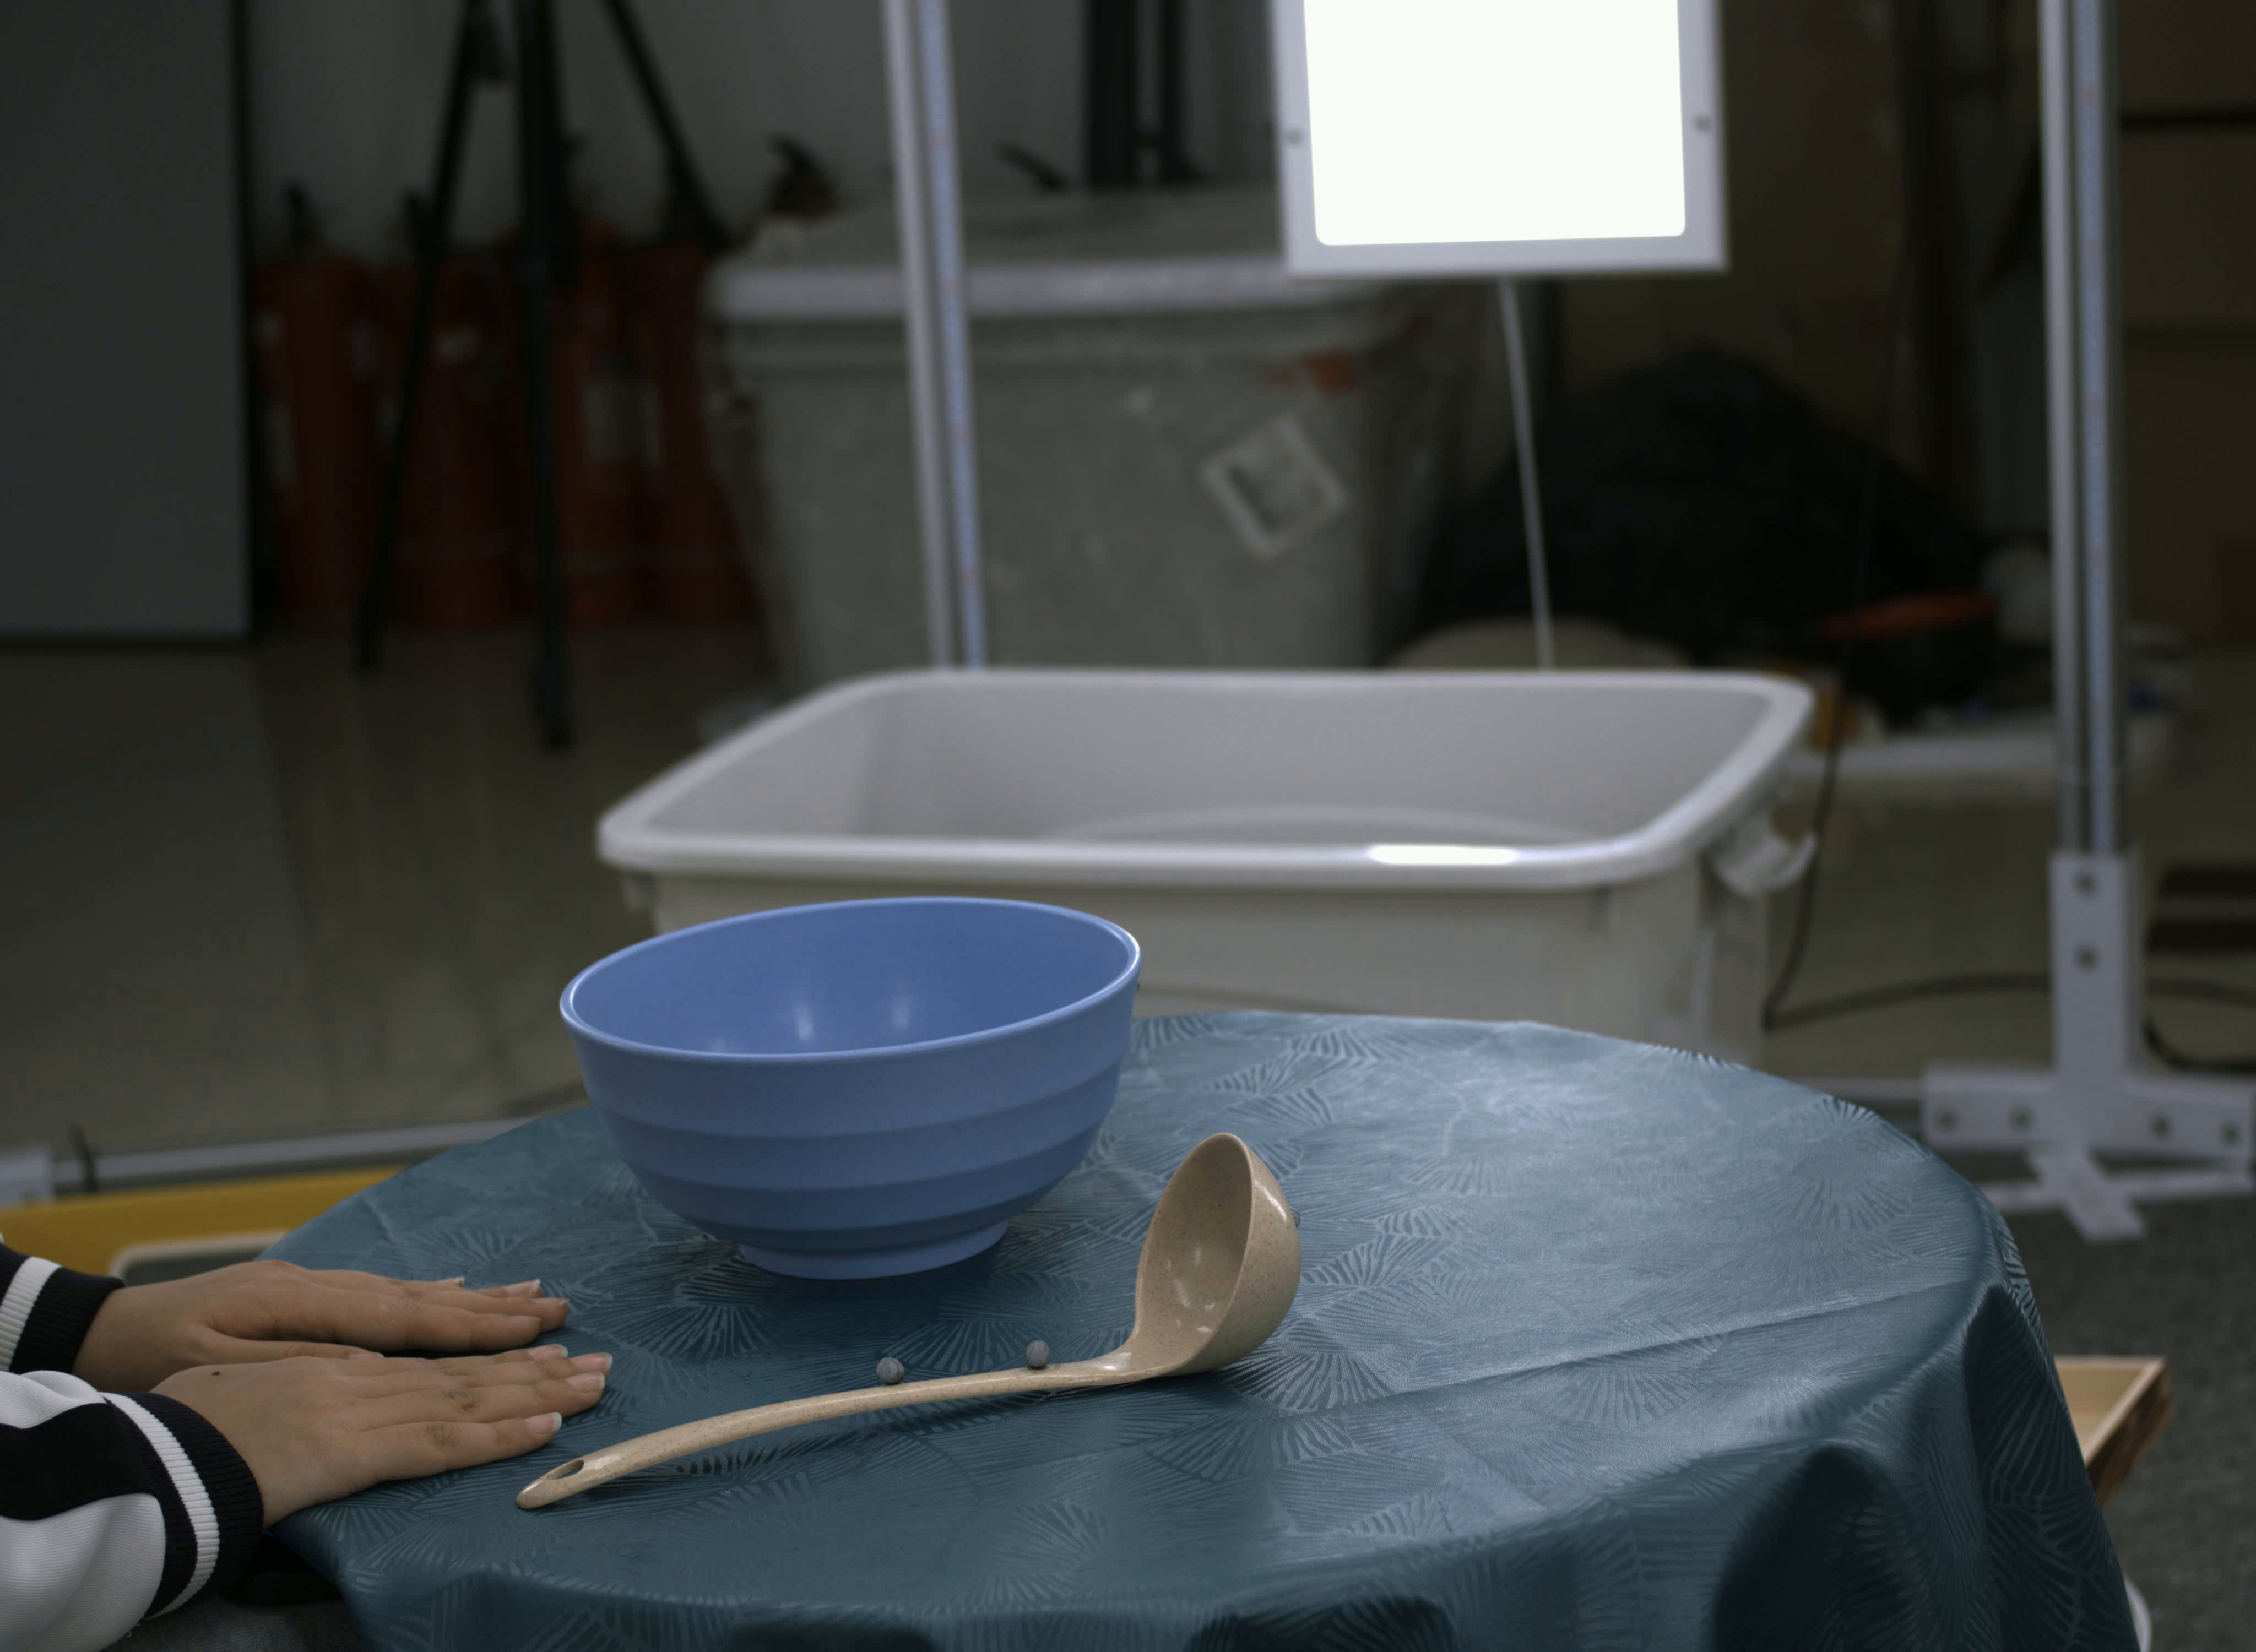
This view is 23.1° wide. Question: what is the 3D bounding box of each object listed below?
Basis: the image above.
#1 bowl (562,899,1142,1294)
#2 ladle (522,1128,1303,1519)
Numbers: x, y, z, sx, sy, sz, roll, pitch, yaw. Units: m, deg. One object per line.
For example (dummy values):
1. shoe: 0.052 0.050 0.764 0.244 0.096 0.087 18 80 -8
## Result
1. bowl: -0.089 0.098 1.865 0.196 0.096 0.196 -5 16 0
2. ladle: -0.067 0.149 1.679 0.250 0.073 0.073 -10 14 -20
